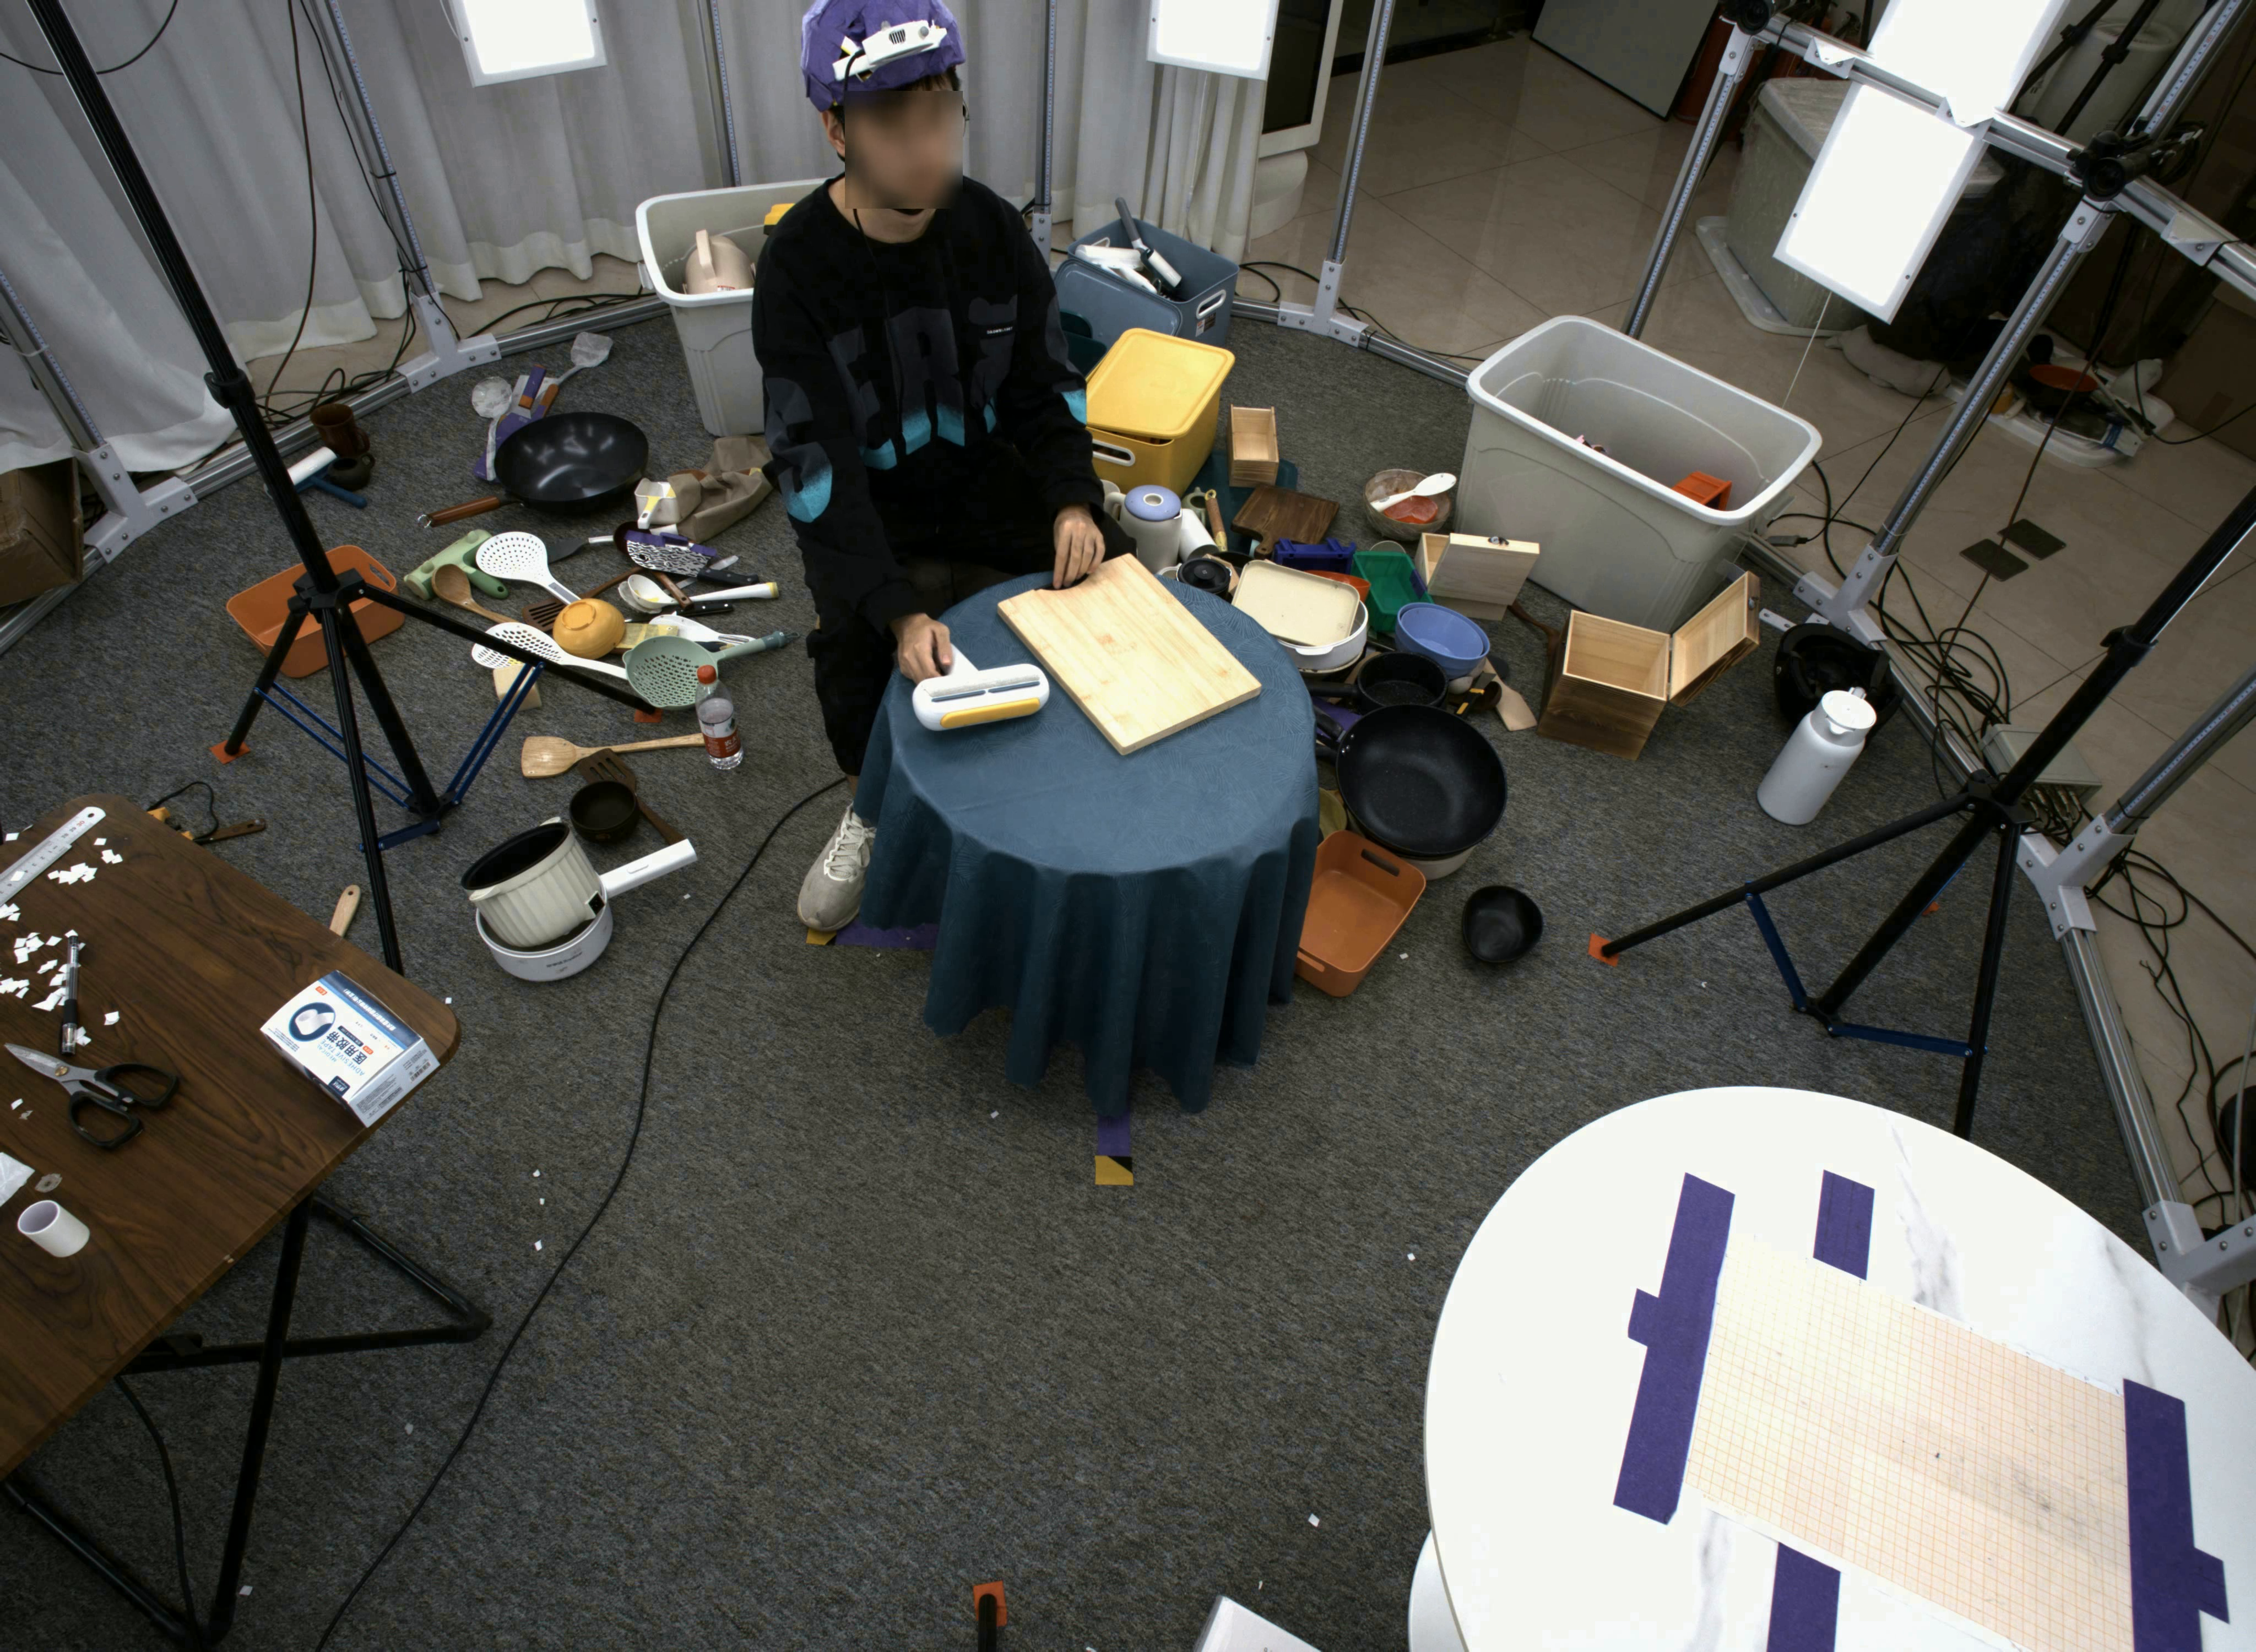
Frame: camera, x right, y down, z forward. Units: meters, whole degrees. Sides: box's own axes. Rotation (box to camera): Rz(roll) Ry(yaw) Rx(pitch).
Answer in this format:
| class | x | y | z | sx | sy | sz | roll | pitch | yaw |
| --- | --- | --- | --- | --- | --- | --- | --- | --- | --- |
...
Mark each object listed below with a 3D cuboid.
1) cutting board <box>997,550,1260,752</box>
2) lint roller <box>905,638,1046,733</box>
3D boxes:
| class | x | y | z | sx | sy | sz | roll | pitch | yaw |
| --- | --- | --- | --- | --- | --- | --- | --- | --- | --- |
| cutting board | -0.004 | -0.265 | 1.887 | 0.252 | 0.023 | 0.355 | -25 | 55 | -23 |
| lint roller | -0.229 | -0.211 | 1.793 | 0.193 | 0.072 | 0.197 | -12 | 49 | -20 |
